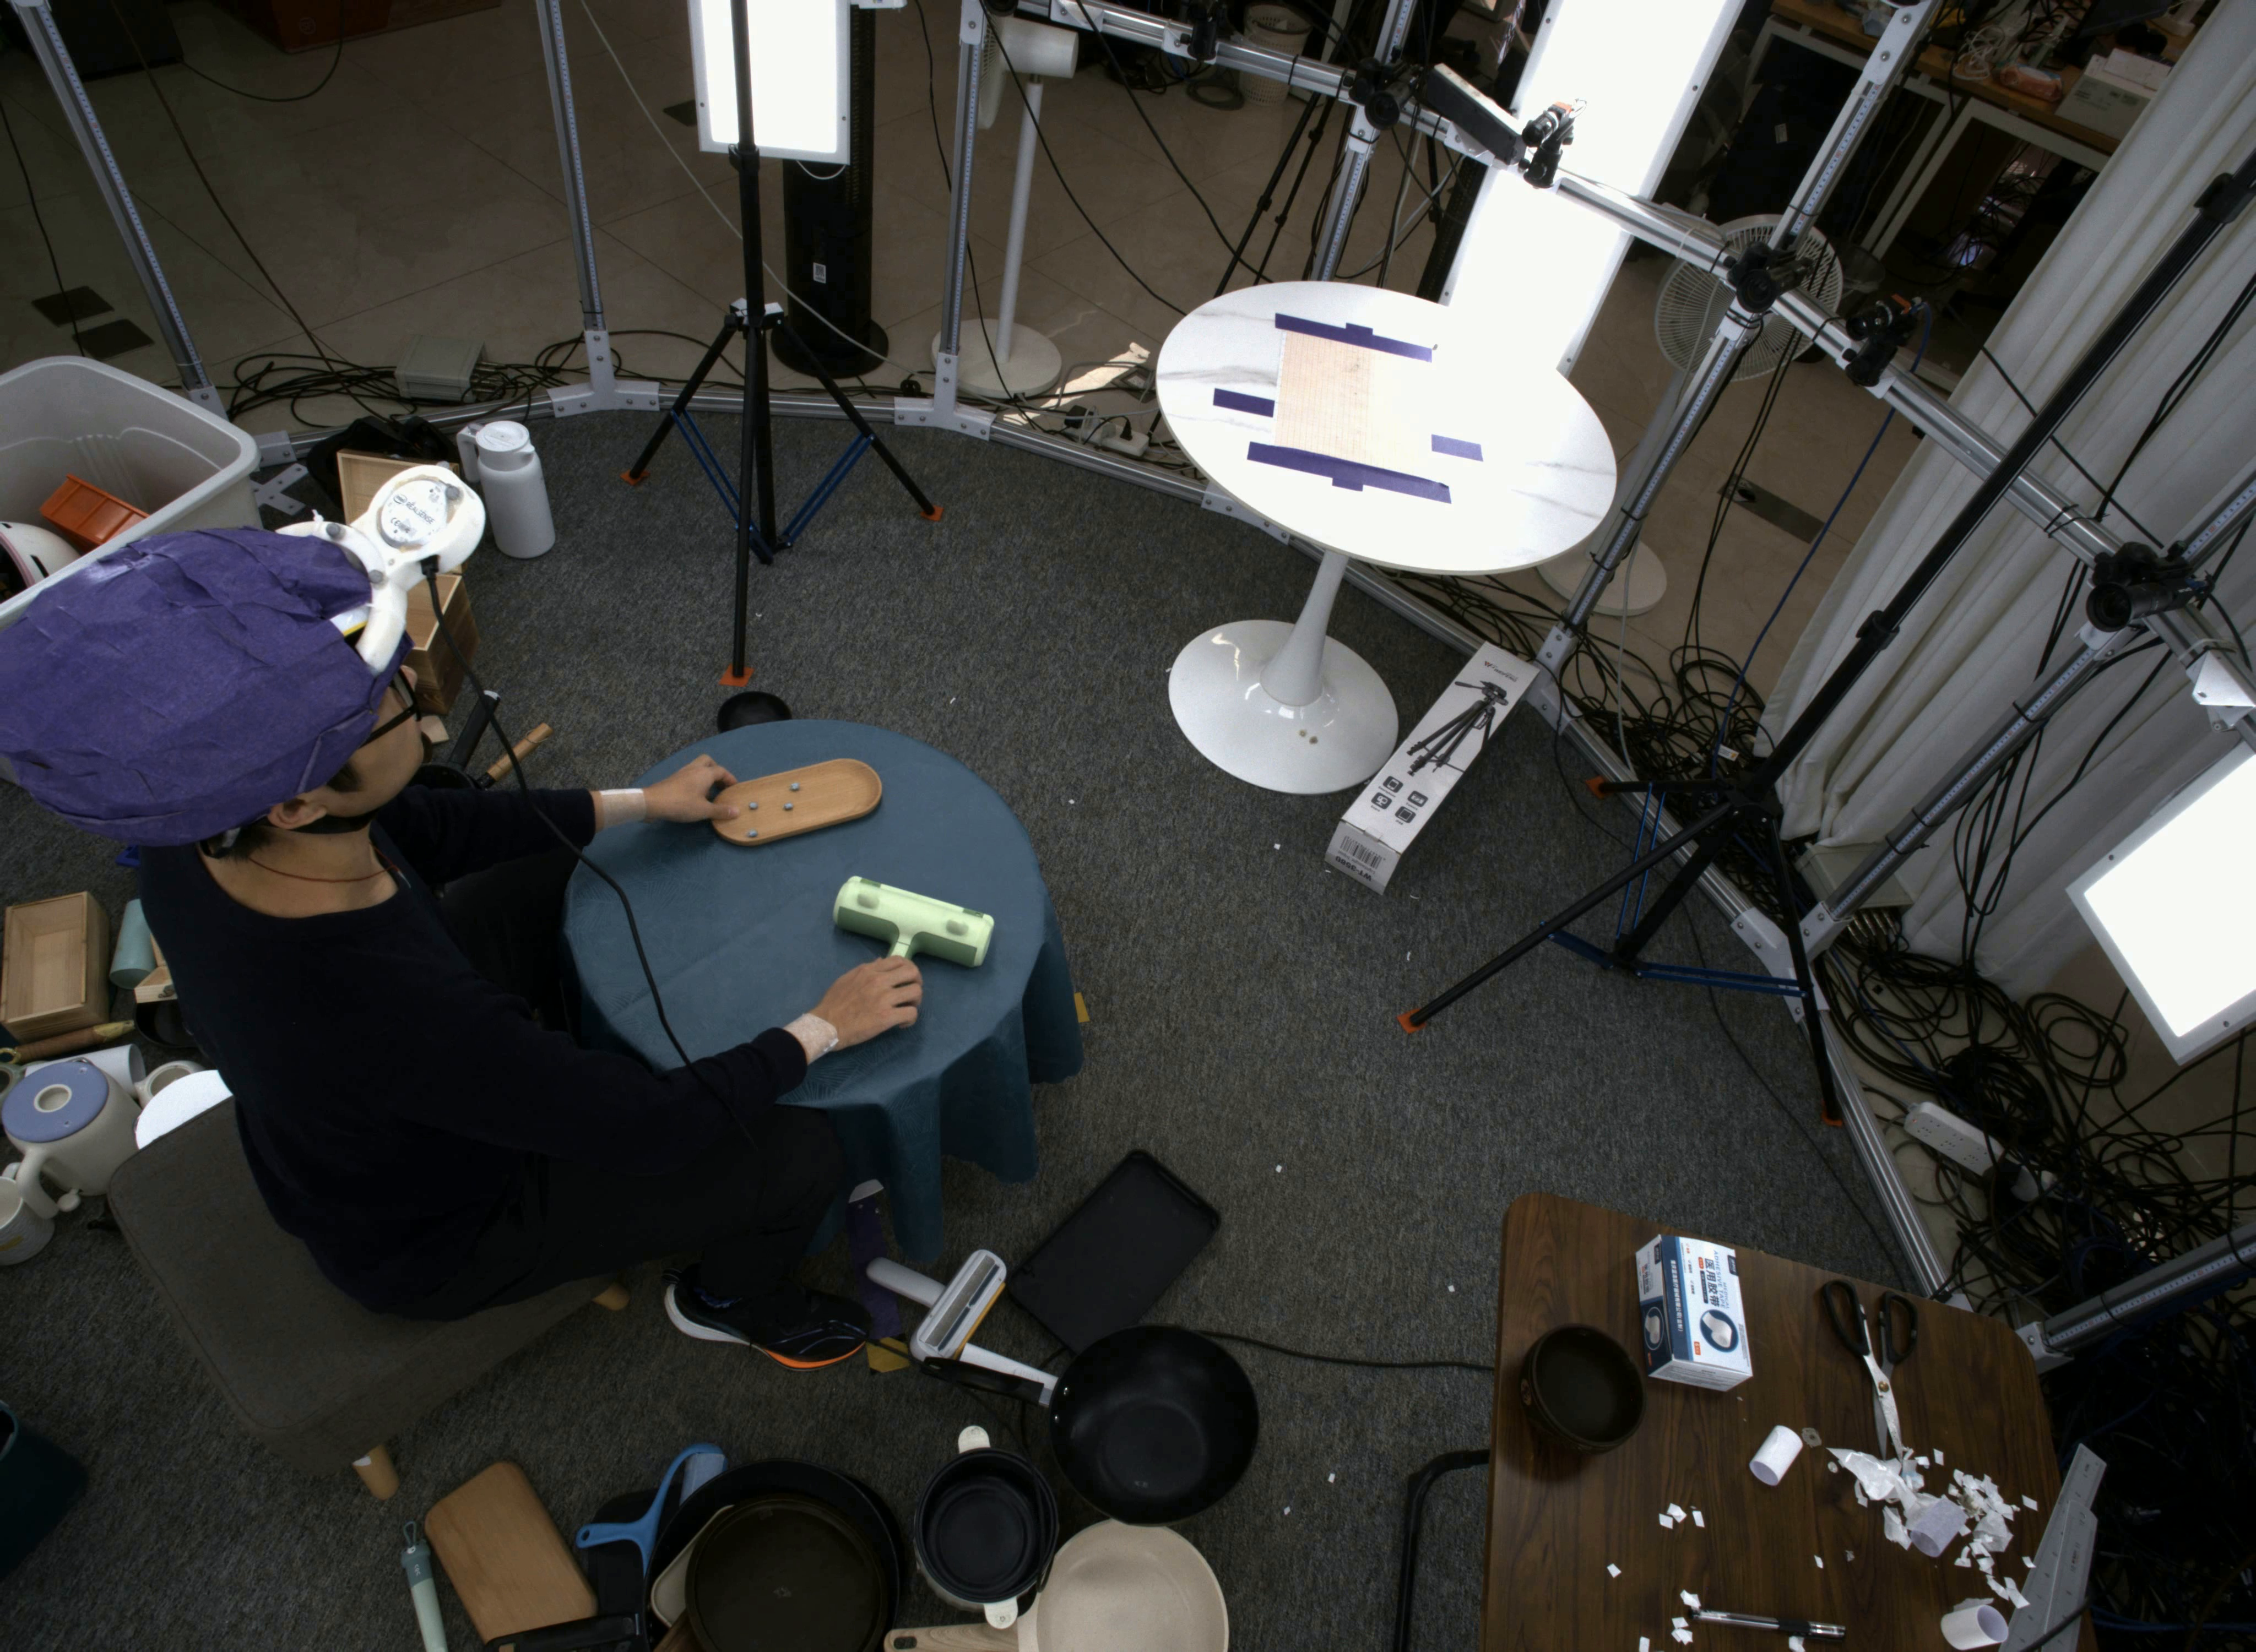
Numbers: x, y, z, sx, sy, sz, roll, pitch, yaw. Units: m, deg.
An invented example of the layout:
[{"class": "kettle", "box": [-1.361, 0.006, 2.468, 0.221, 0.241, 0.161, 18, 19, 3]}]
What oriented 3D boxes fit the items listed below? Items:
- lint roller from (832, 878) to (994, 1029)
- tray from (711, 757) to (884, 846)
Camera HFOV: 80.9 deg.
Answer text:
[{"class": "lint roller", "box": [-0.278, 0.152, 1.583, 0.197, 0.084, 0.181, 16, 46, -2]}, {"class": "tray", "box": [-0.438, -0.034, 1.725, 0.232, 0.020, 0.099, -16, 61, -27]}]
